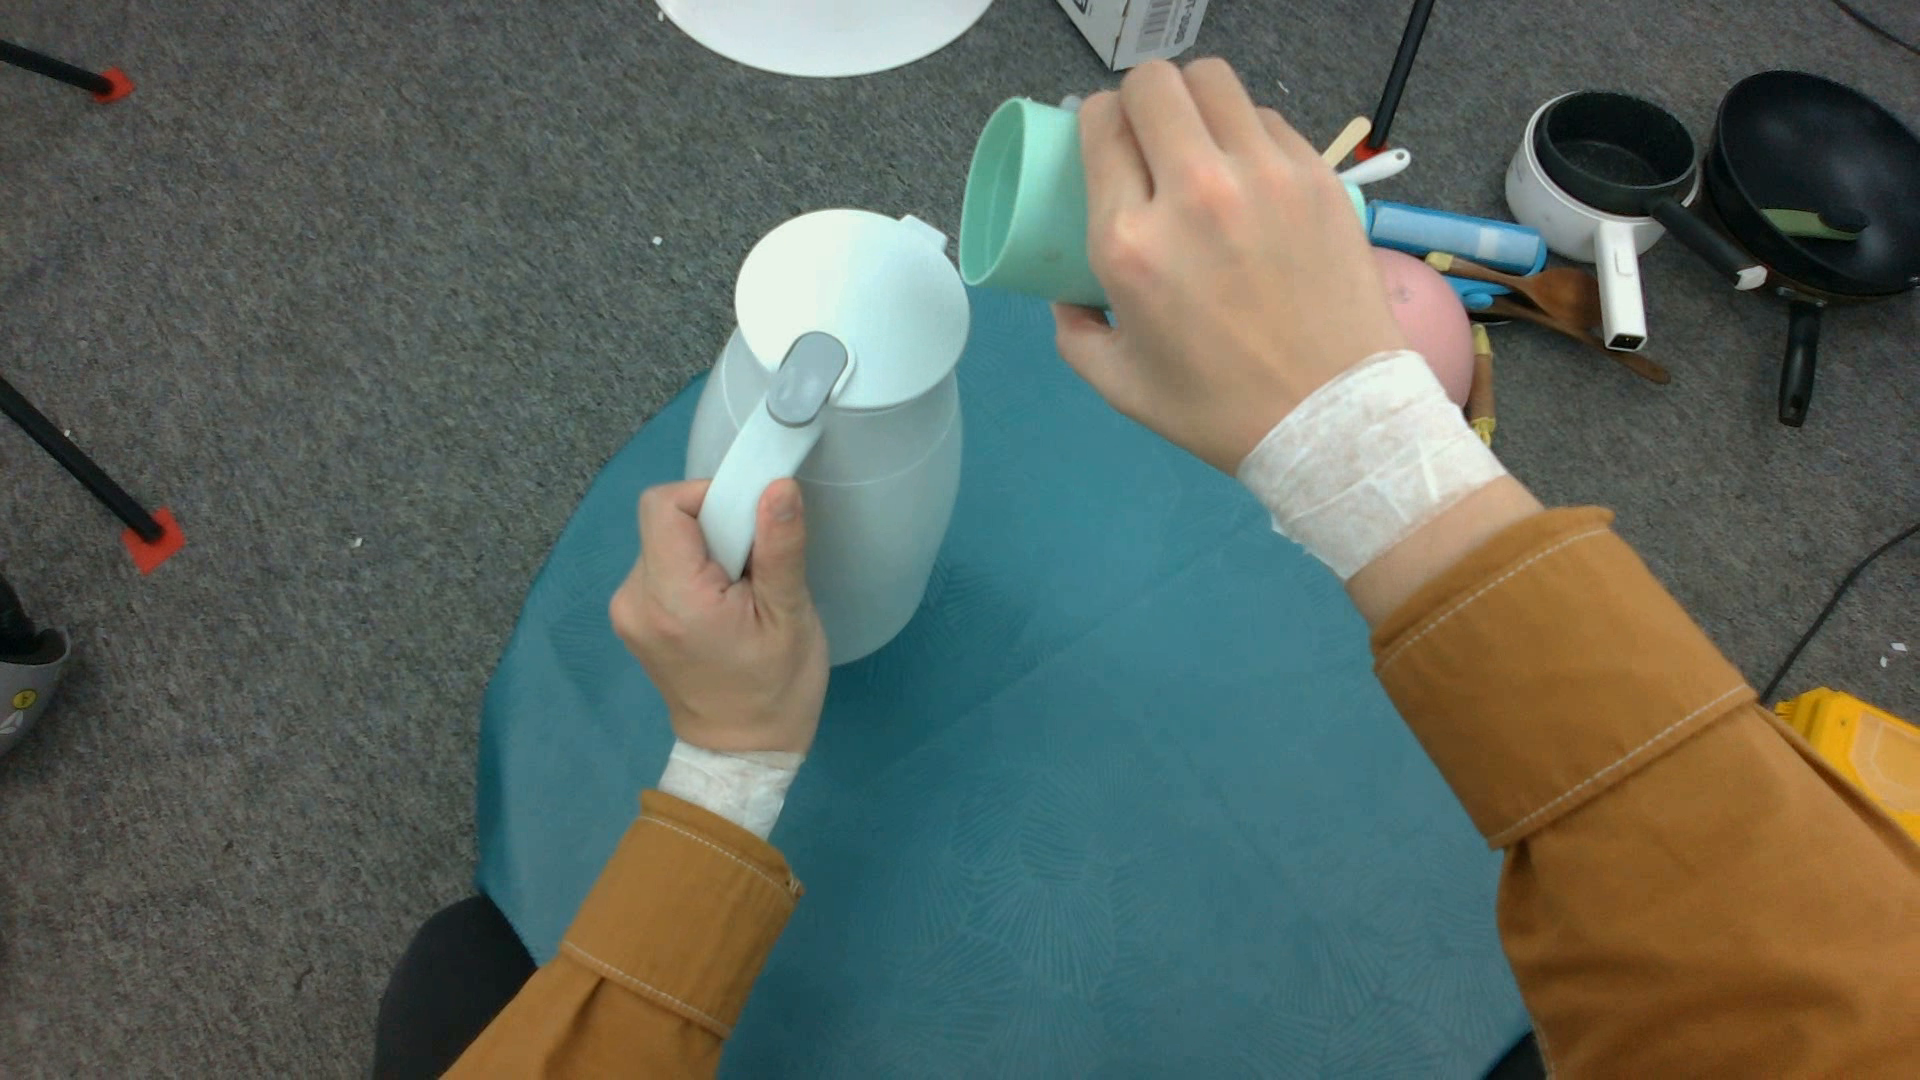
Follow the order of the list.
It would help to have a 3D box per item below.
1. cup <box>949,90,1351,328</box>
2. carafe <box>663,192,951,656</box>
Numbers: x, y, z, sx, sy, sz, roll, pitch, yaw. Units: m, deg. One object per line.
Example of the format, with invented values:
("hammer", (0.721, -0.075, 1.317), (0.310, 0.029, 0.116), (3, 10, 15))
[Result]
("cup", (0.068, -0.117, 0.498), (0.132, 0.066, 0.067), (7, 62, -18))
("carafe", (-0.077, -0.035, 0.627), (0.132, 0.247, 0.168), (30, 63, 2))
